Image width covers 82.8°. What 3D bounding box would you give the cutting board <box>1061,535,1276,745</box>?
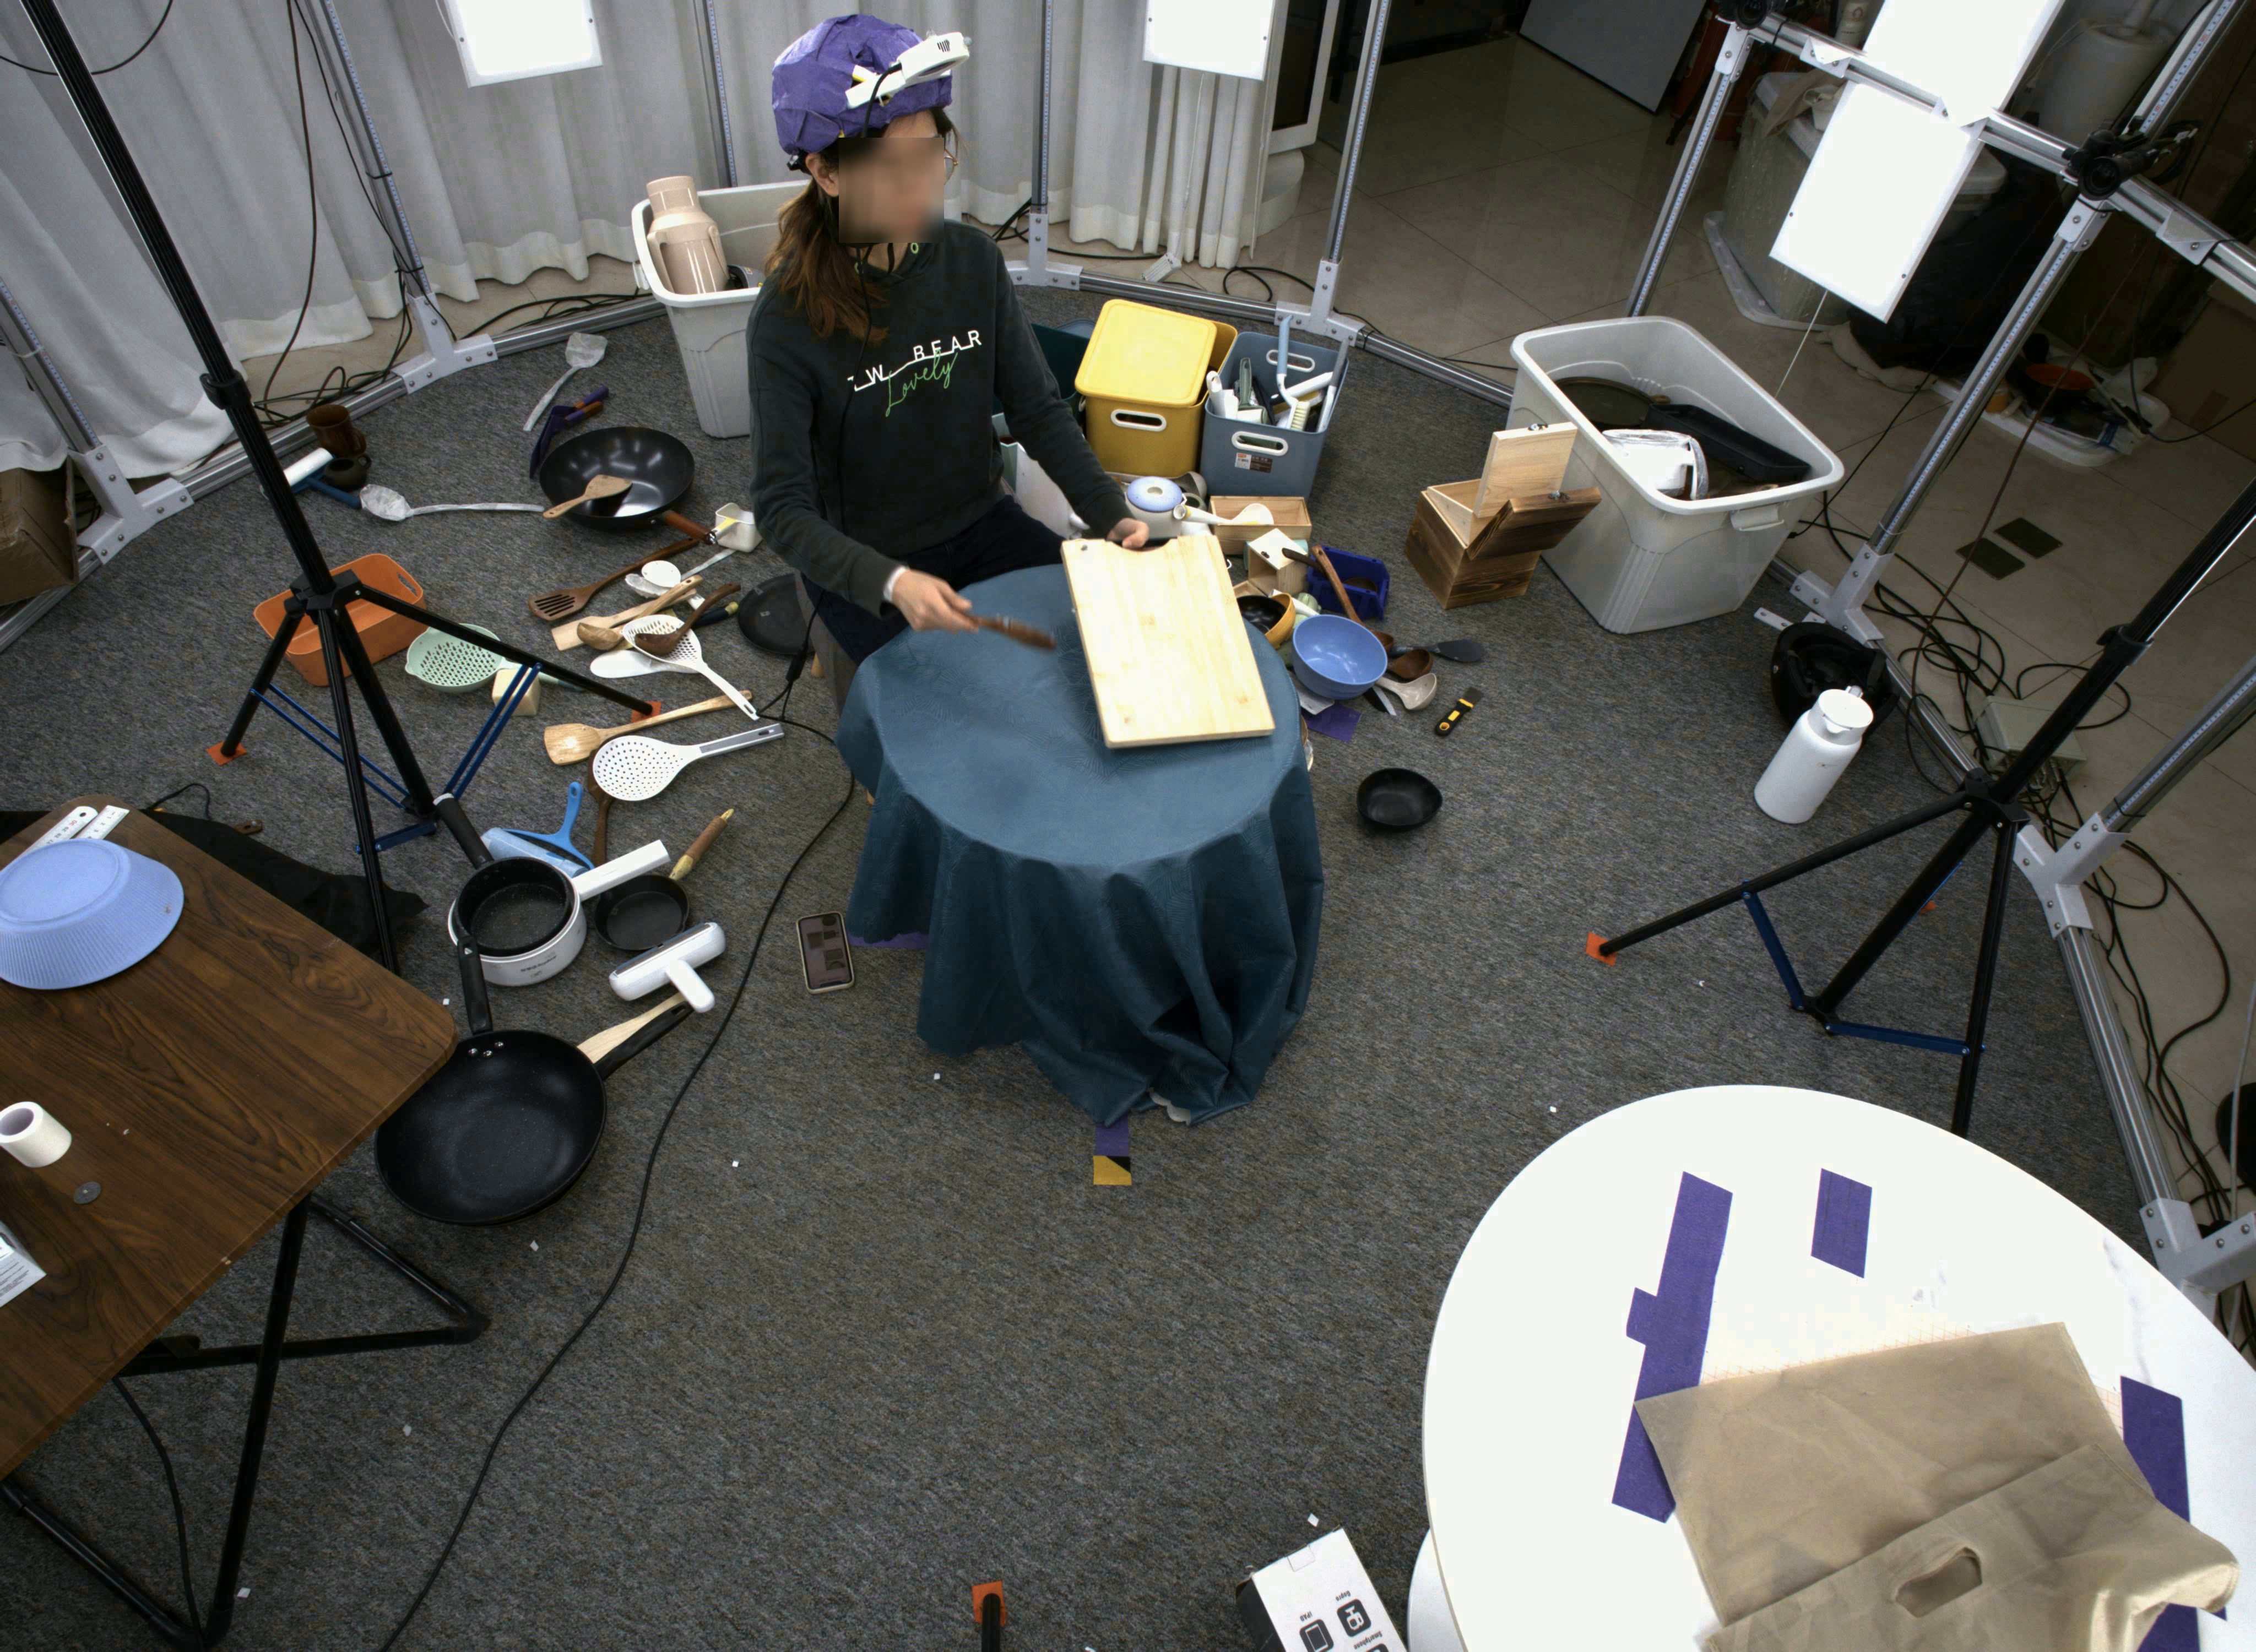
[{"bbox_3d":[0.054,-0.273,1.847,0.250,0.023,0.356,-7,62,-17],"label":"cutting board"}]

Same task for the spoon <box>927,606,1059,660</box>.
[{"bbox_3d":[-0.183,-0.254,1.705,0.218,0.074,0.017,23,93,30],"label":"spoon"}]
